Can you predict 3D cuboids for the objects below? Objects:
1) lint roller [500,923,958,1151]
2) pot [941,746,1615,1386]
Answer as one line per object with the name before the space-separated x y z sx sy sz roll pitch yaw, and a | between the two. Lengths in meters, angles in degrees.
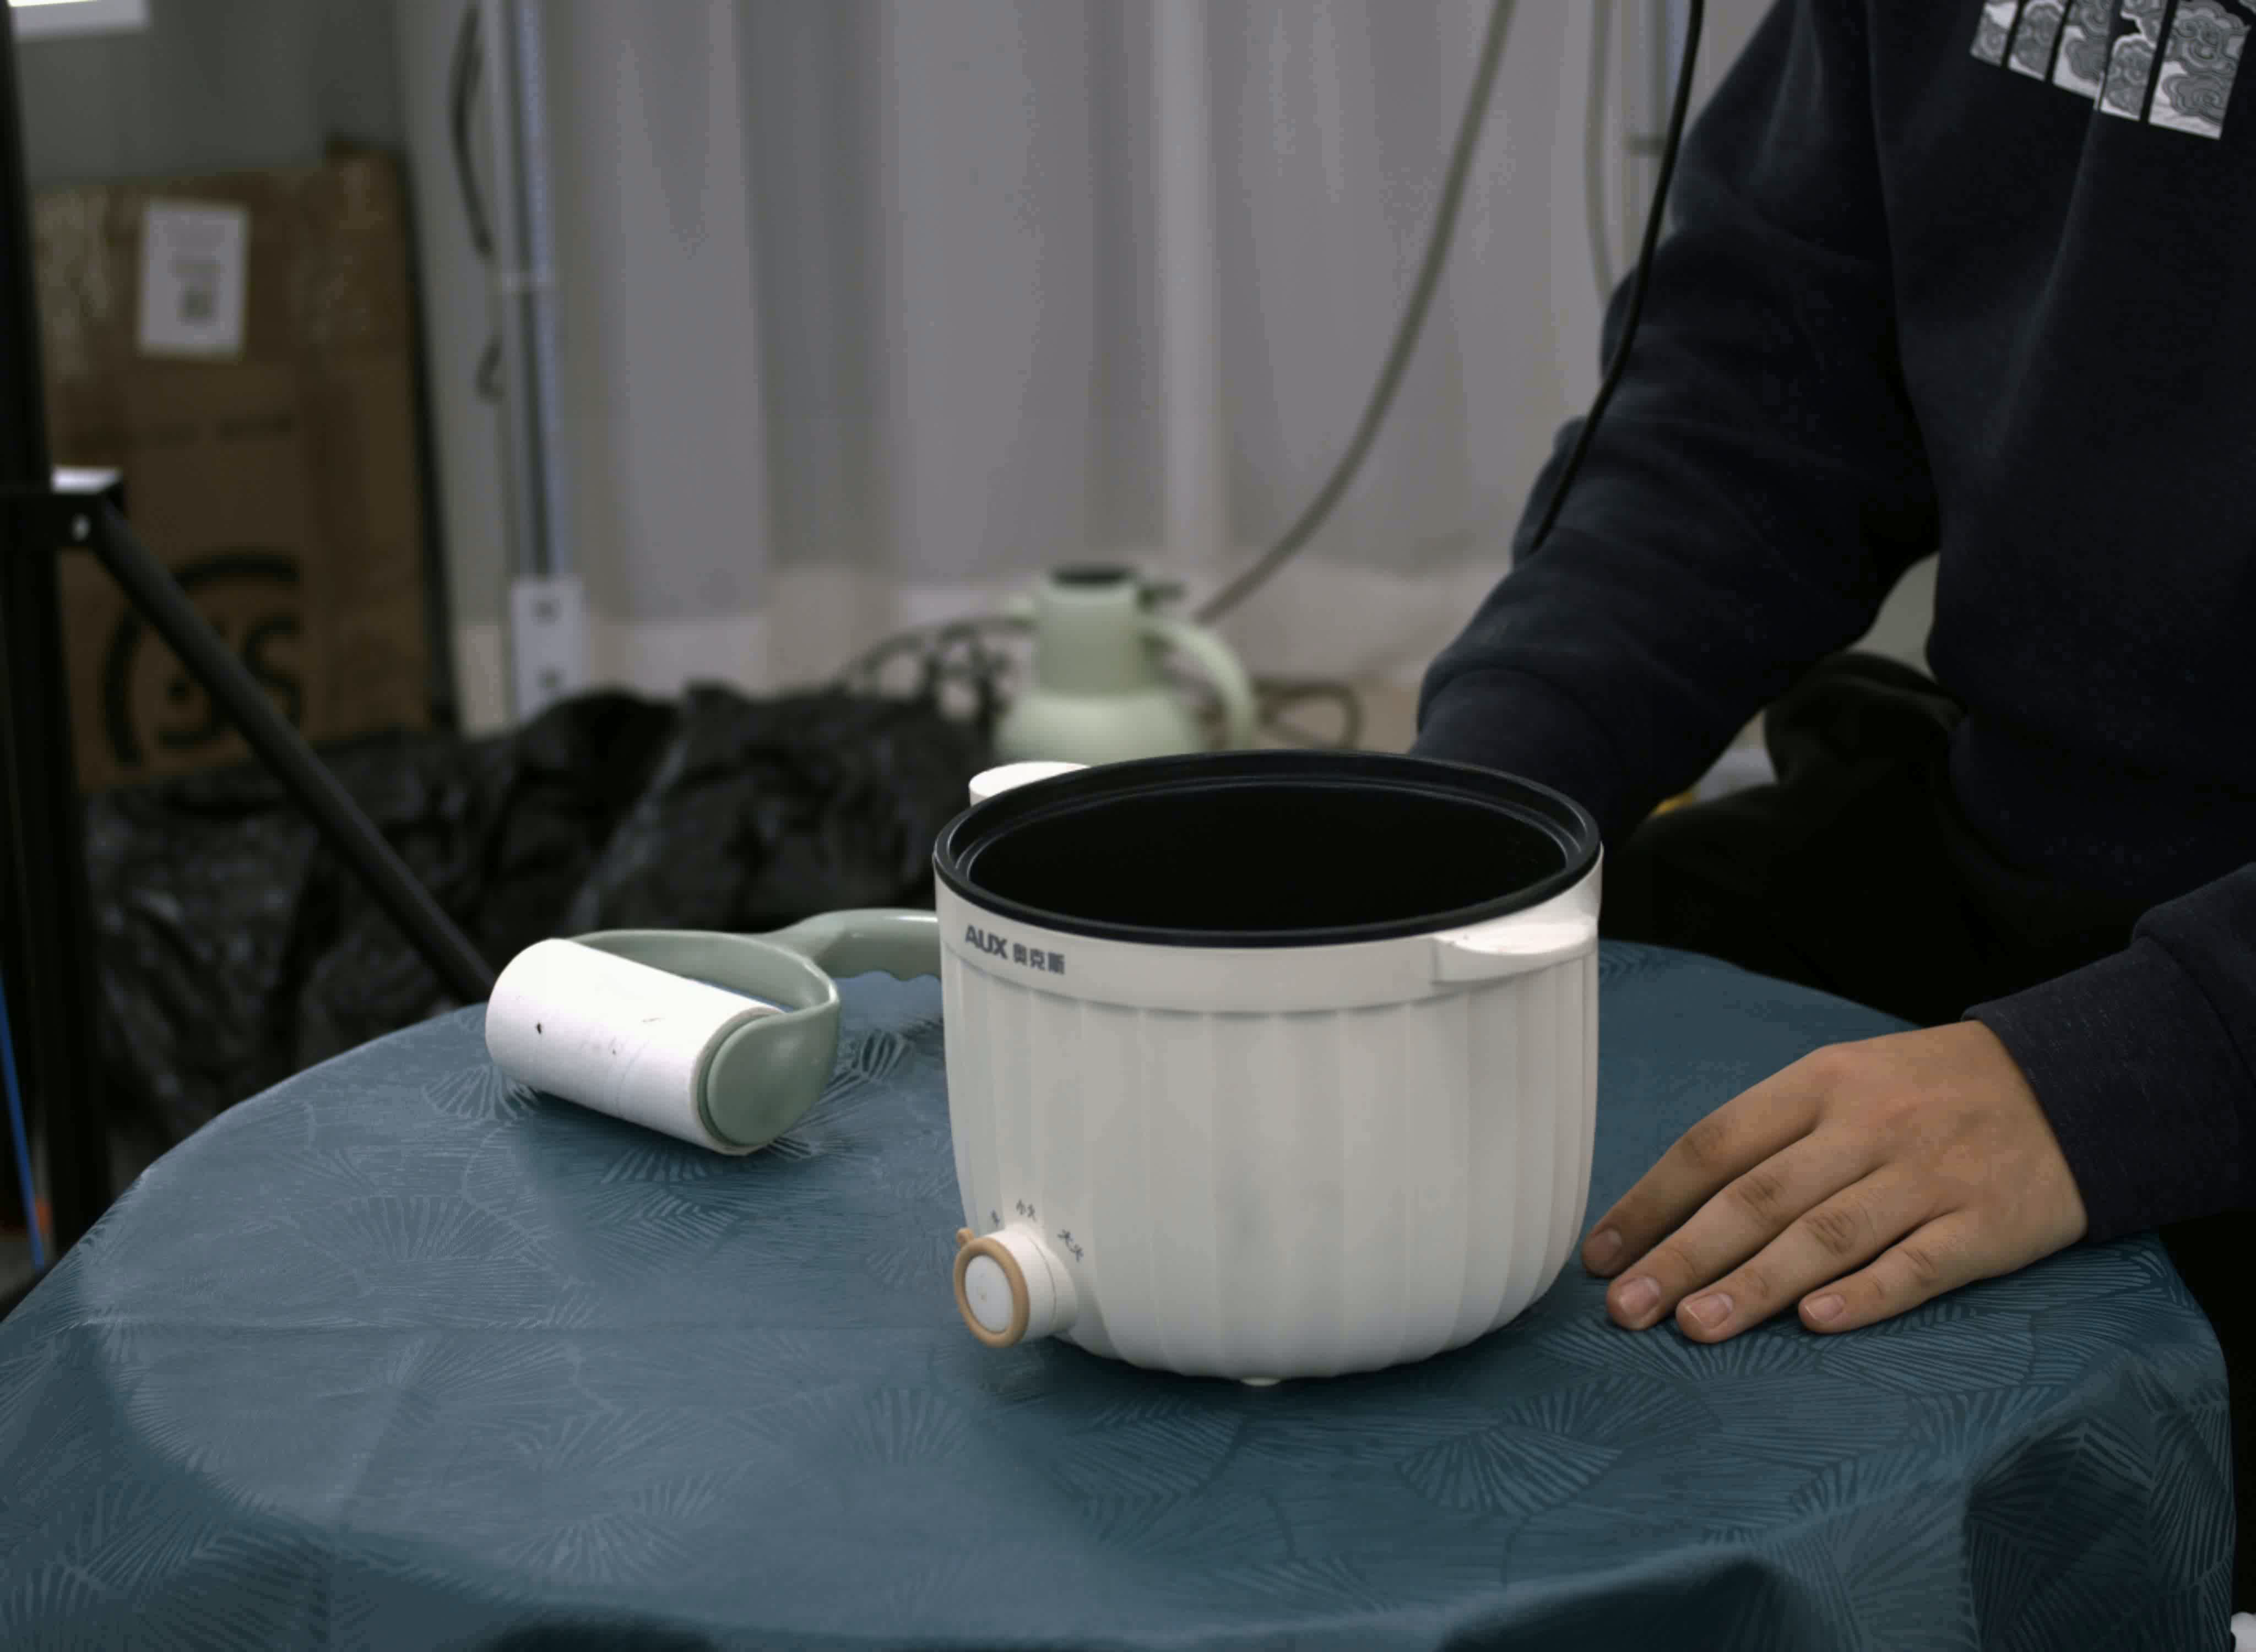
lint roller | -0.090 0.056 1.676 0.193 0.048 0.119 -13 17 -42
pot | 0.038 0.067 1.442 0.186 0.143 0.246 -10 16 -37
